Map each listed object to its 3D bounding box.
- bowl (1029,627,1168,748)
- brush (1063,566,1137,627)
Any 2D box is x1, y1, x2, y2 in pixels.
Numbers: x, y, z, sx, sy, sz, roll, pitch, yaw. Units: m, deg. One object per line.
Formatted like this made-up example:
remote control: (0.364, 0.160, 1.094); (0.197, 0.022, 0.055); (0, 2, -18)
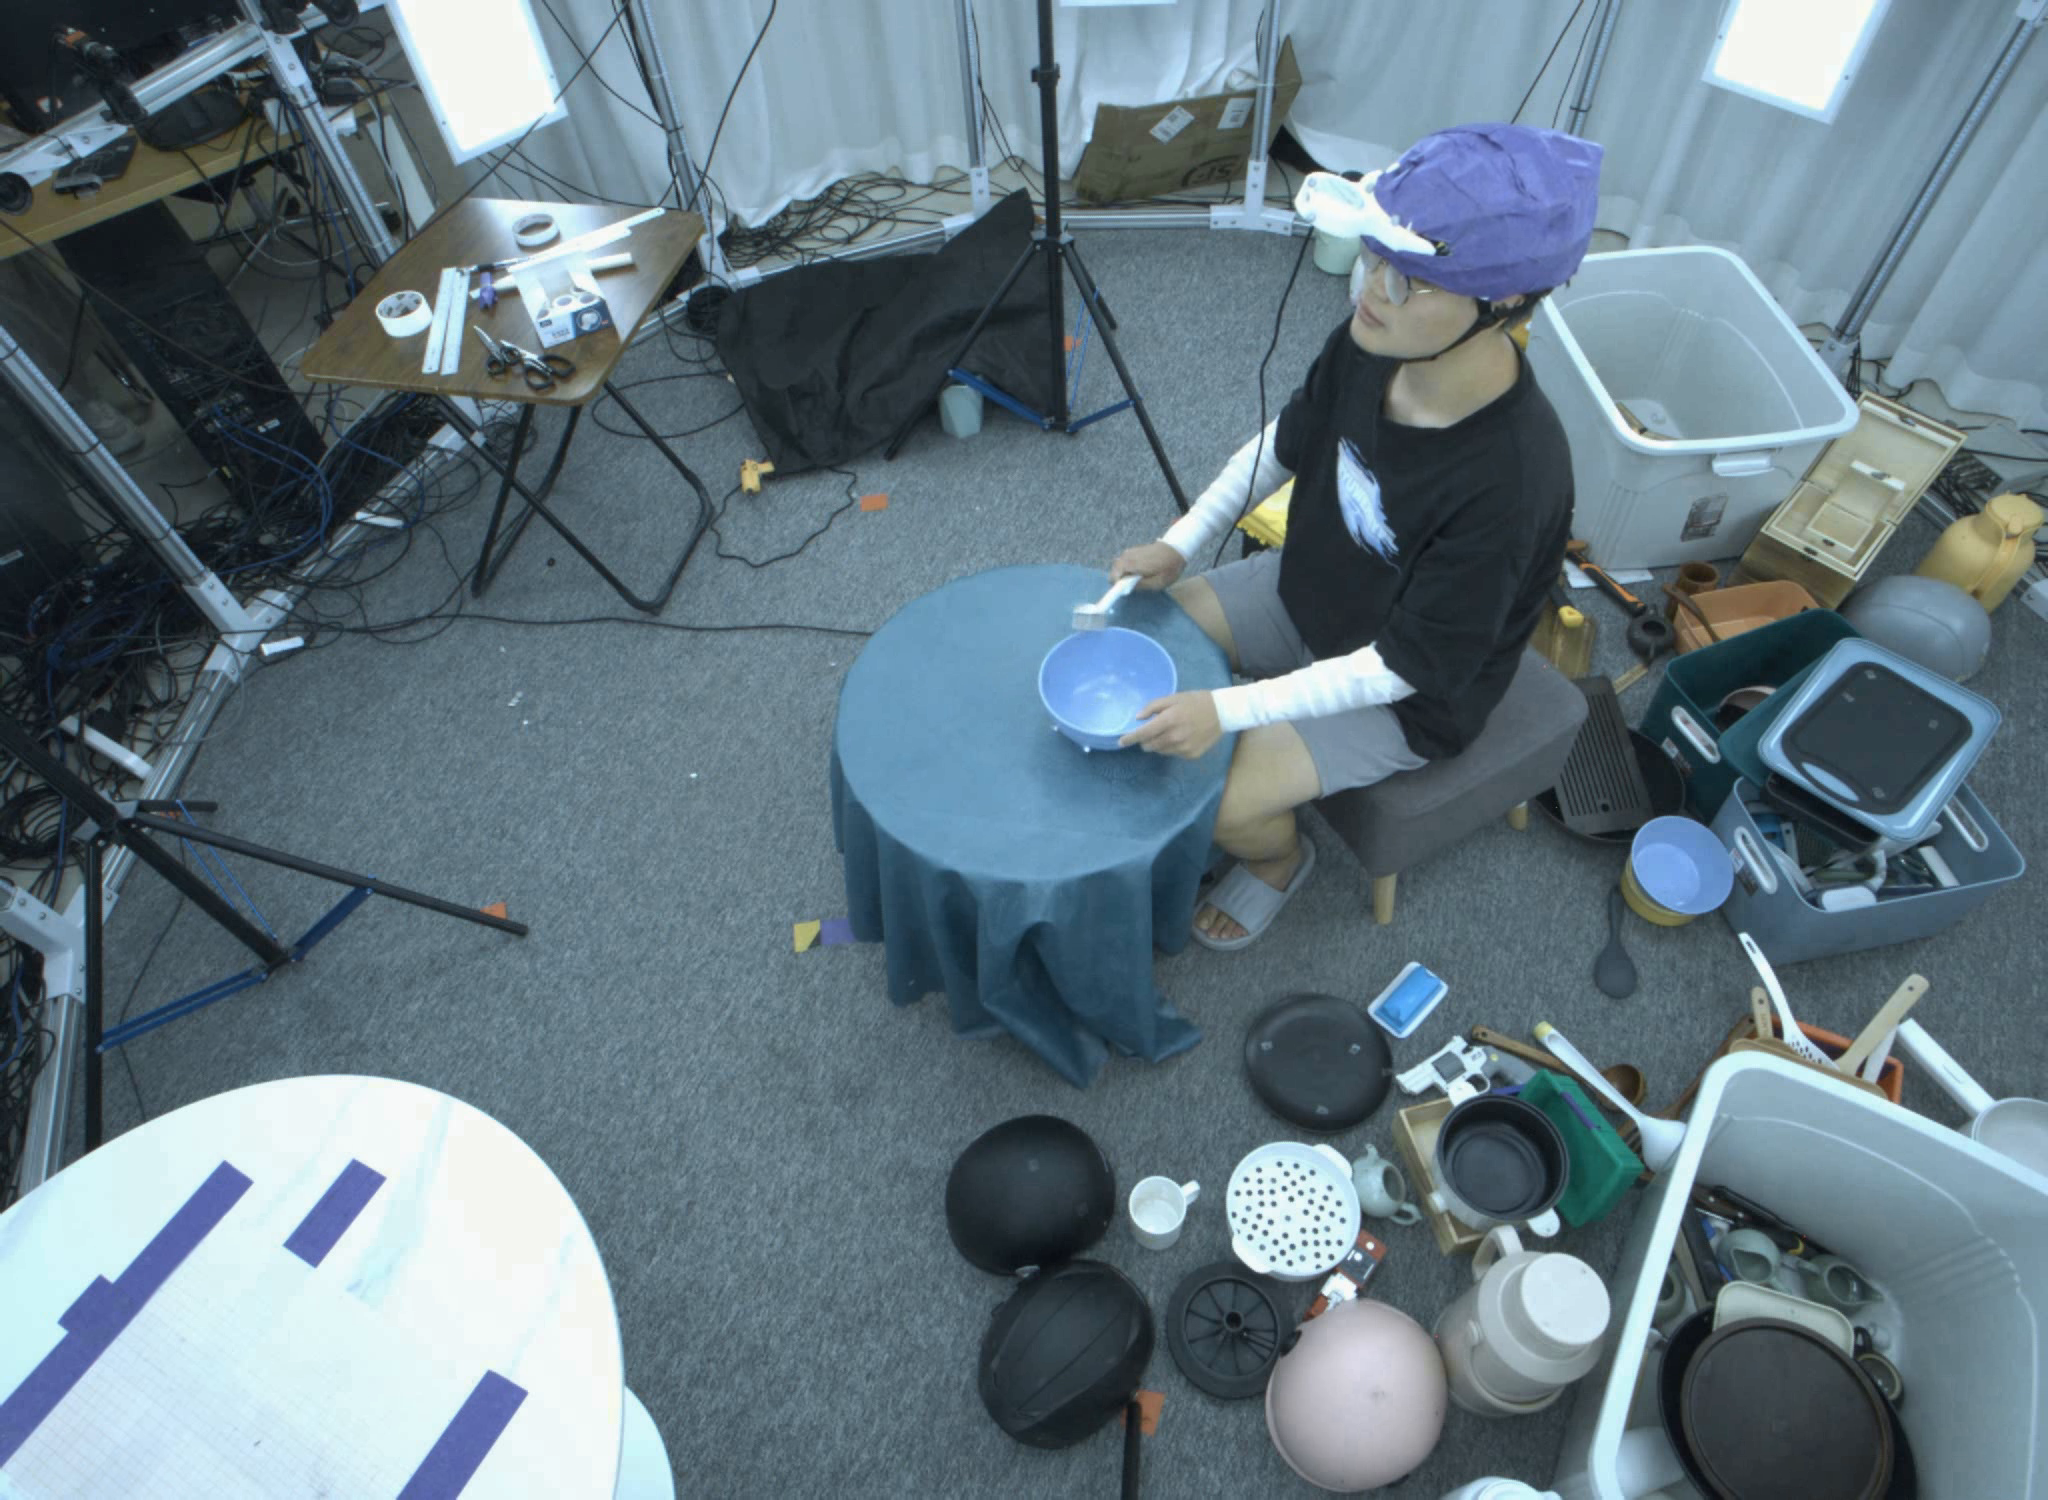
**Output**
bowl: (0.107, -0.075, 1.771); (0.196, 0.096, 0.194); (0, 53, 1)
brush: (0.118, -0.227, 1.835); (0.034, 0.050, 0.245); (5, 23, 25)
